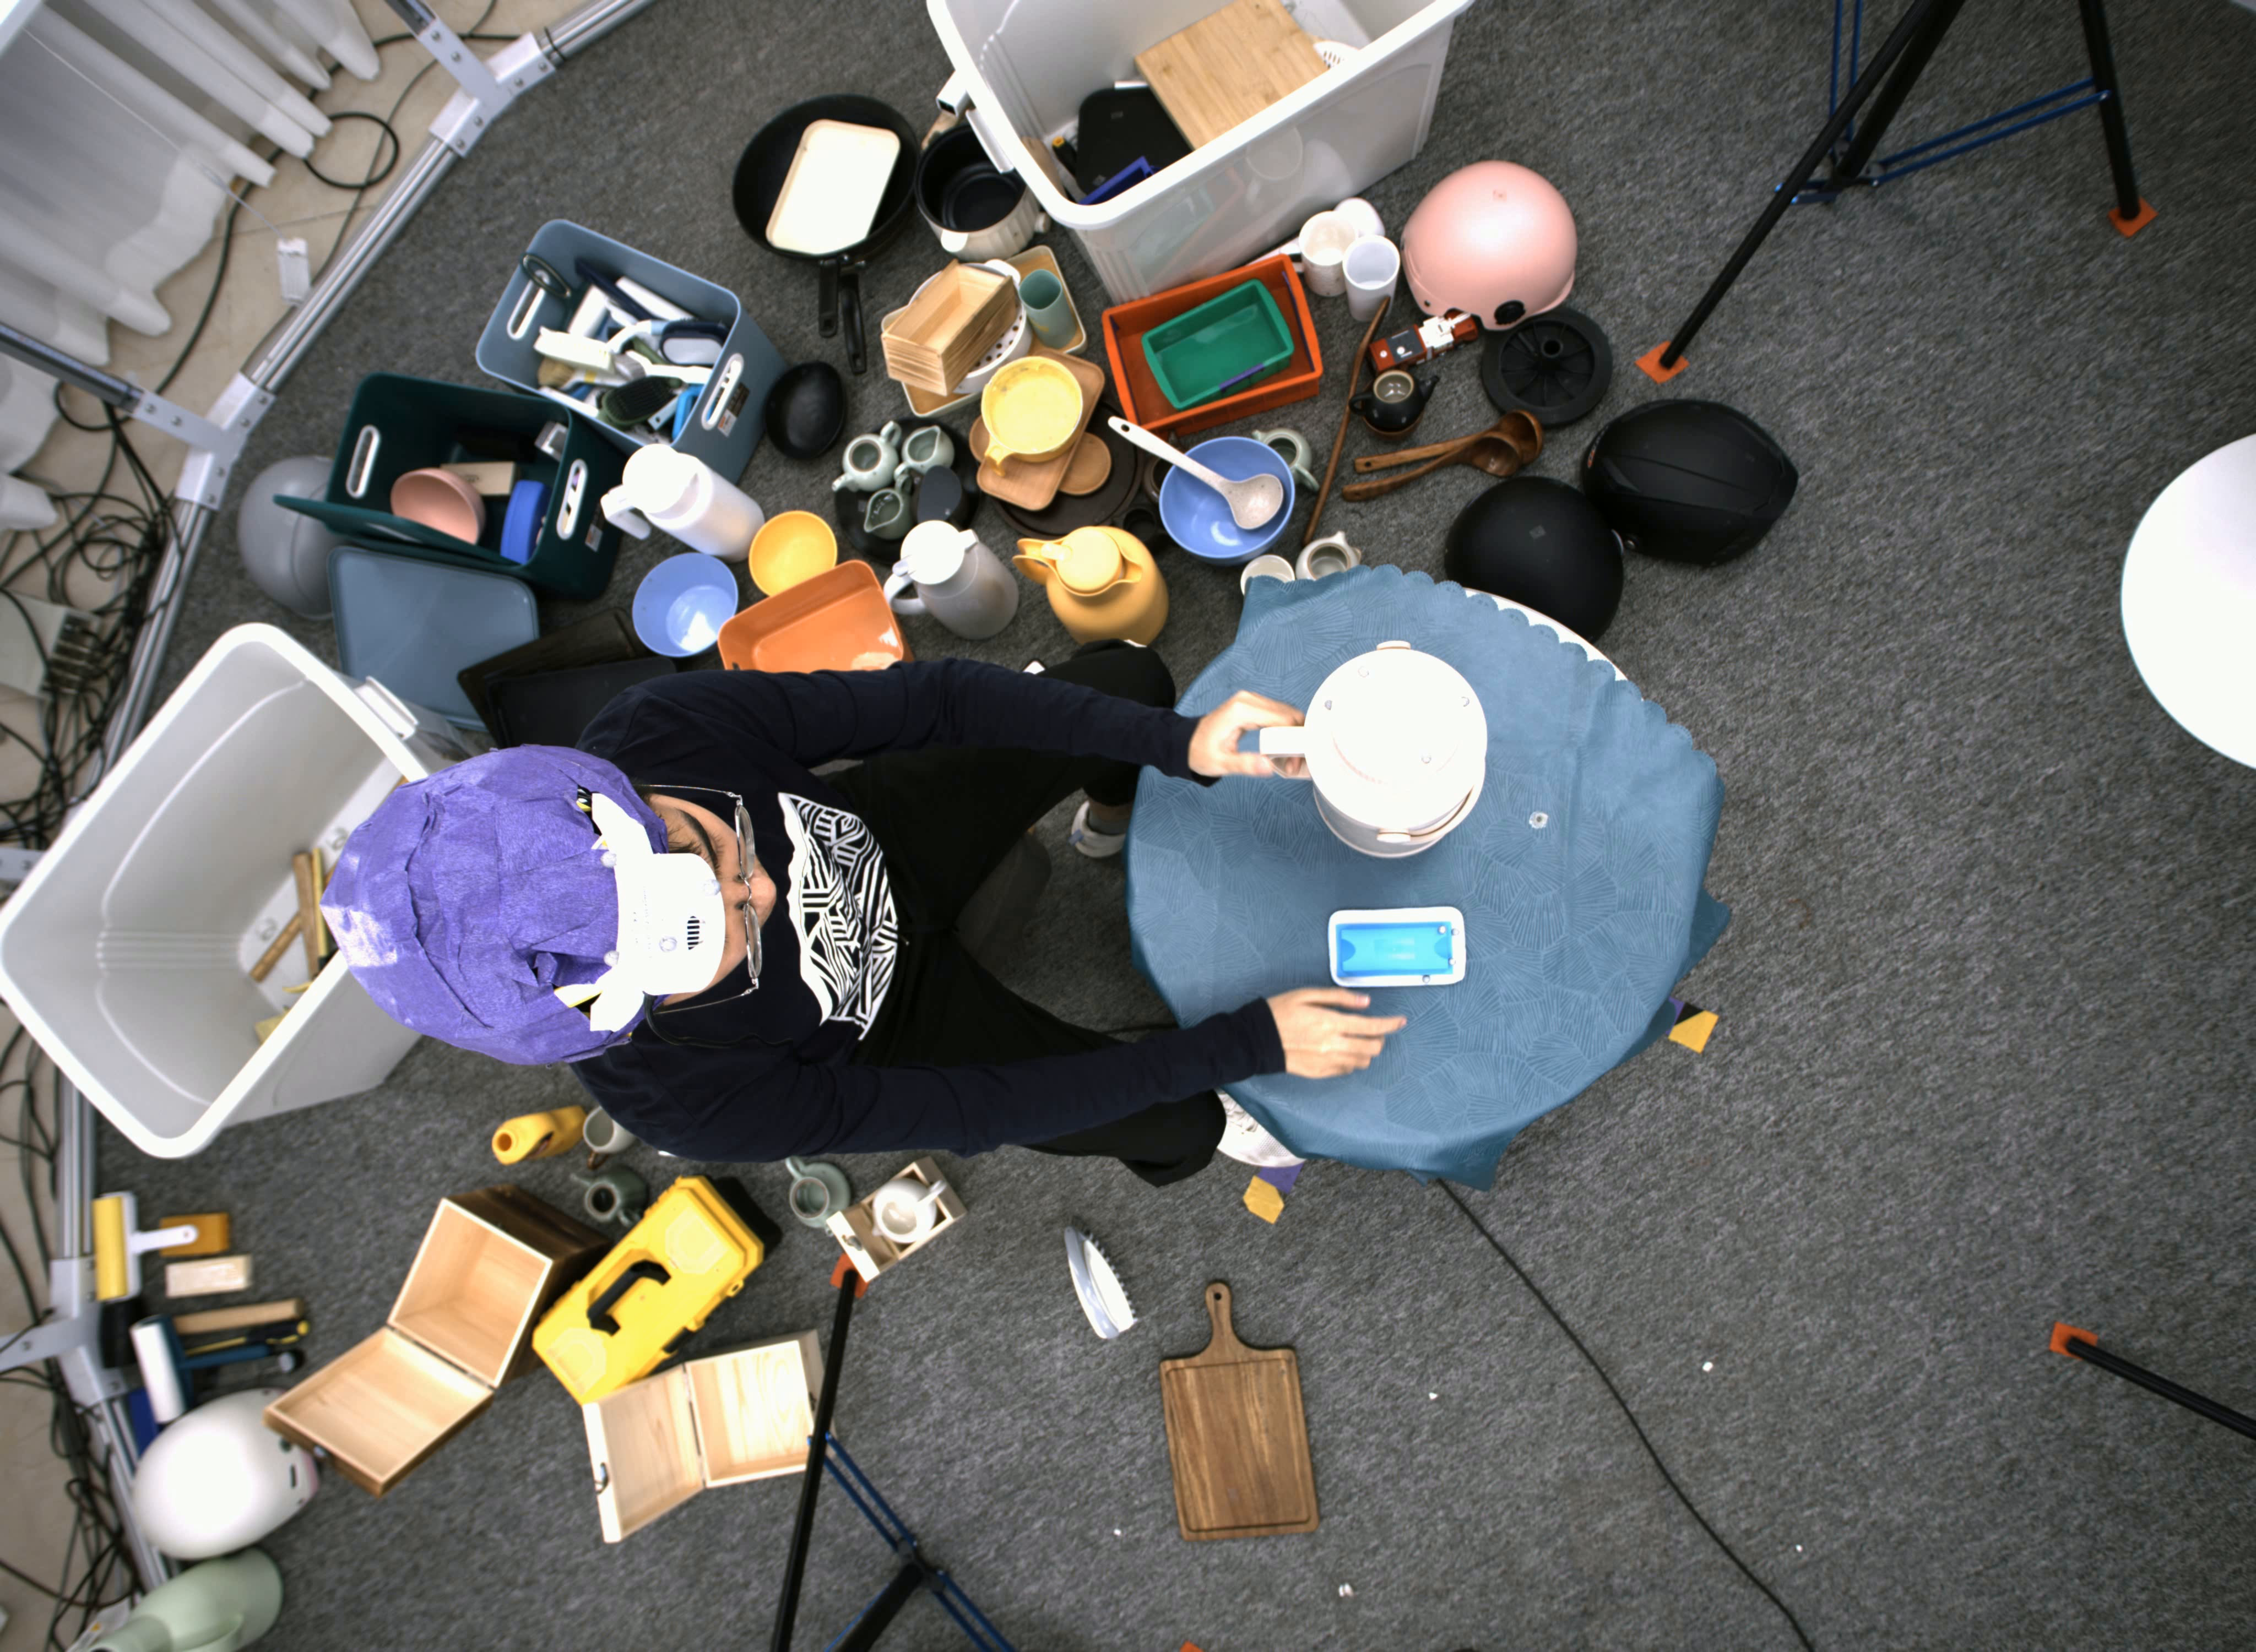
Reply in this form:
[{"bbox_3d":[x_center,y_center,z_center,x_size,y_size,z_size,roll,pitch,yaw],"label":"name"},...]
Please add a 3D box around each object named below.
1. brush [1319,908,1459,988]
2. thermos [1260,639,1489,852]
[{"bbox_3d":[0.270,0.124,1.425,0.144,0.056,0.083,0,84,8],"label":"brush"},{"bbox_3d":[0.232,-0.070,1.272,0.208,0.406,0.174,-1,86,11],"label":"thermos"}]
